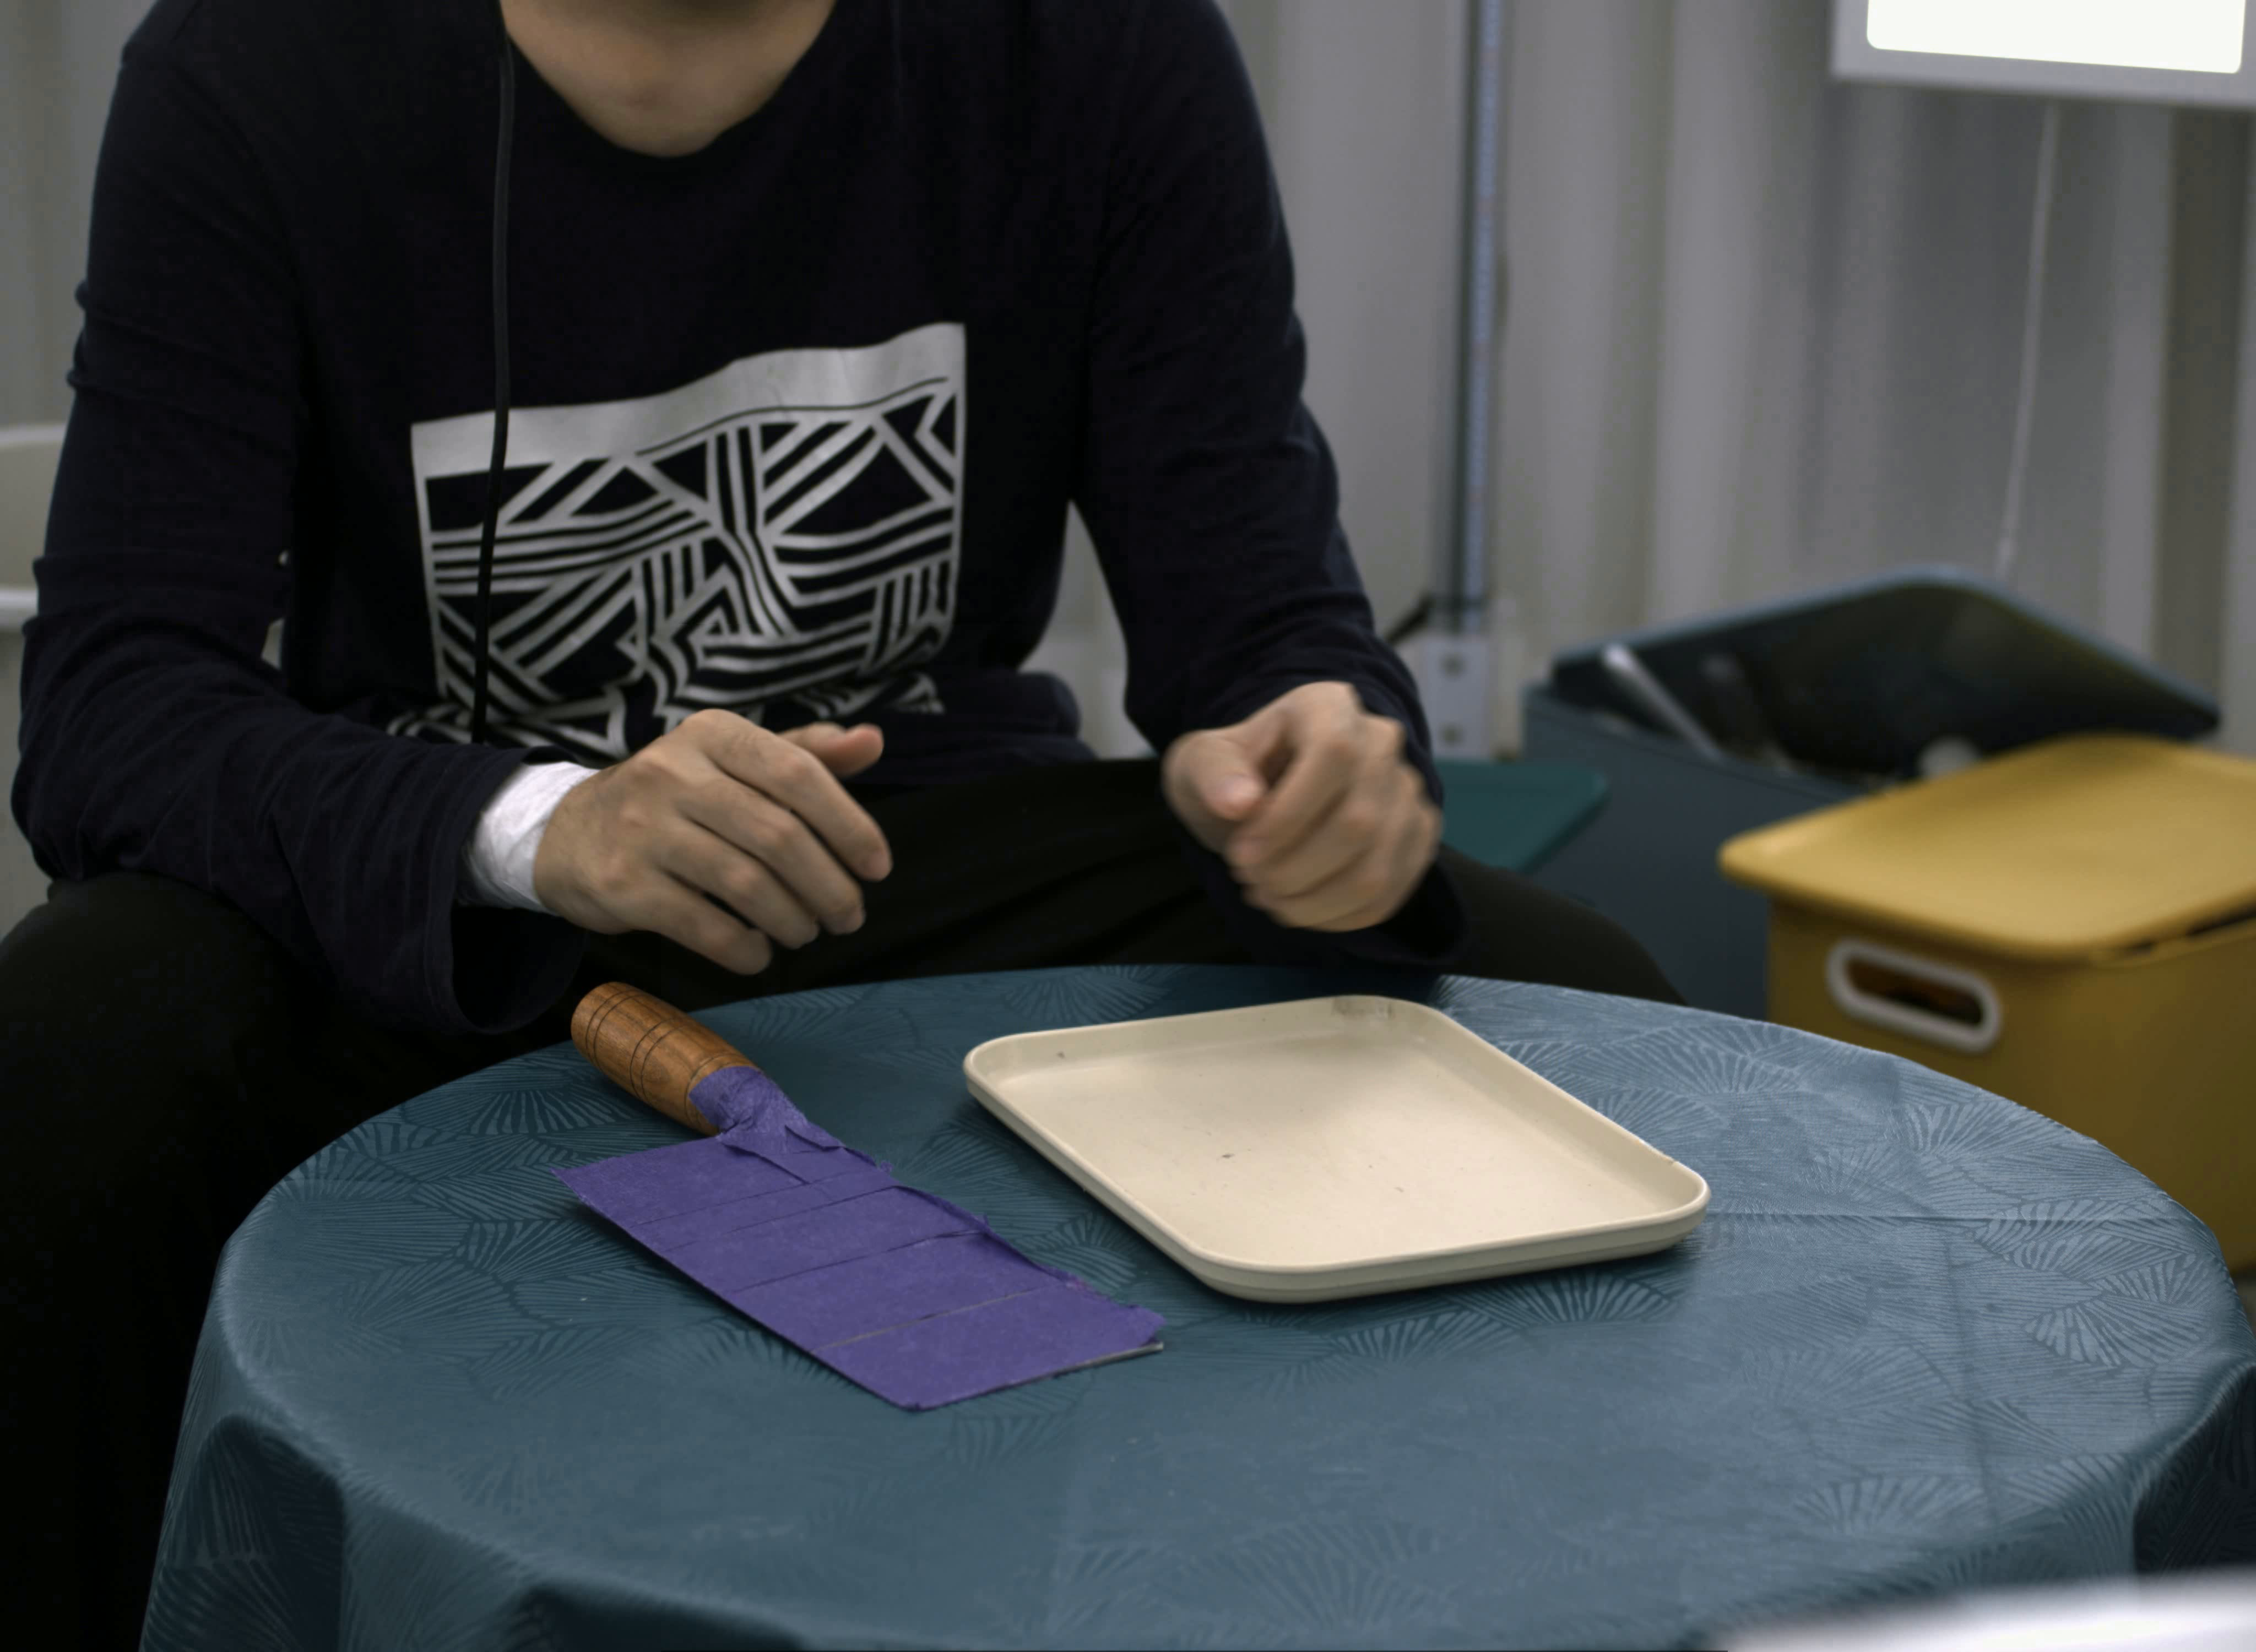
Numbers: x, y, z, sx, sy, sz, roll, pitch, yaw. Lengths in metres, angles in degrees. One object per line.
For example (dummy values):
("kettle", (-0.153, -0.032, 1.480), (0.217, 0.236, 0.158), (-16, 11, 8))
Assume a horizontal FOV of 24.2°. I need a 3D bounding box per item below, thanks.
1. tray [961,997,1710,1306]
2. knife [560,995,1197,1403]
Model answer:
("tray", (0.060, 0.100, 1.641), (0.172, 0.017, 0.237), (-6, 17, -22))
("knife", (-0.109, 0.109, 1.585), (0.104, 0.032, 0.311), (-10, 19, -34))
